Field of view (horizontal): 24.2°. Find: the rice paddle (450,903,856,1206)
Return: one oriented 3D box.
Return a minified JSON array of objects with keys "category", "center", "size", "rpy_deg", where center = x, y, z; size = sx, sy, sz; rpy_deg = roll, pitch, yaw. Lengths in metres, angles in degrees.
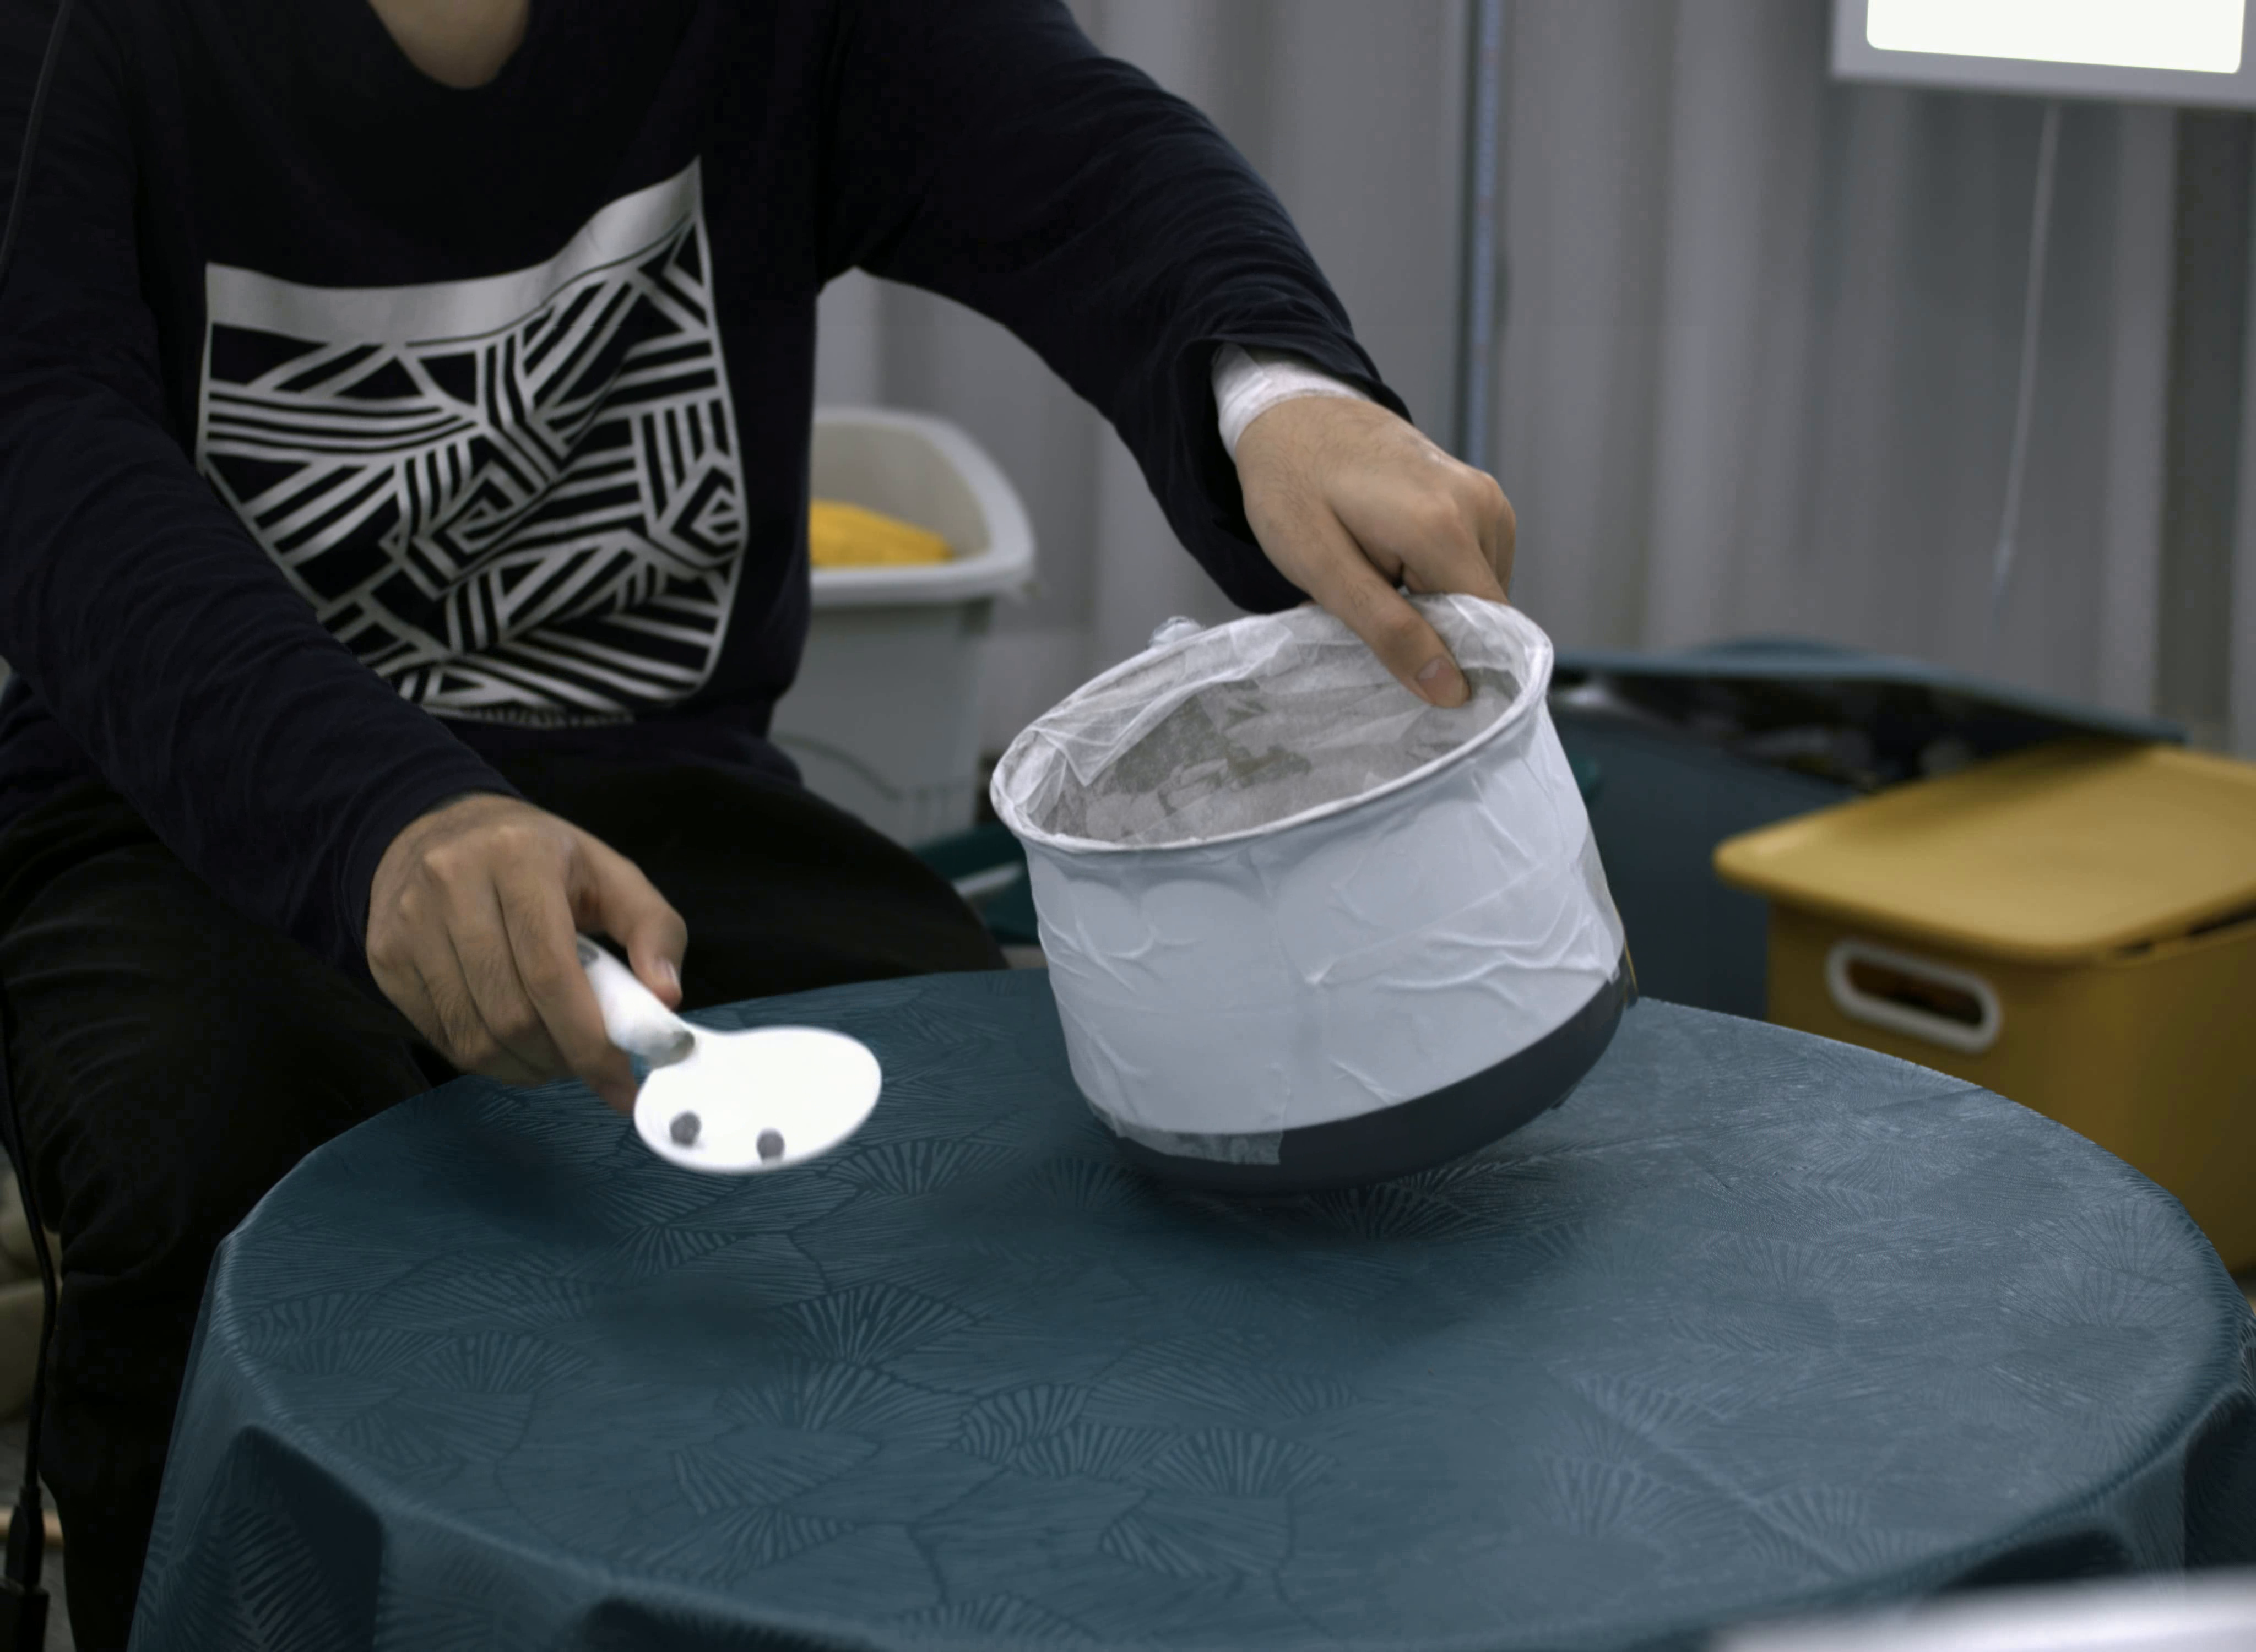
[{"category":"rice paddle","center":[-0.146,0.069,1.568],"size":[0.069,0.030,0.202],"rpy_deg":[-21,29,-25]}]

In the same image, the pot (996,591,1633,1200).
[{"category":"pot","center":[0.051,0.013,1.645],"size":[0.179,0.138,0.231],"rpy_deg":[-19,23,-12]}]
